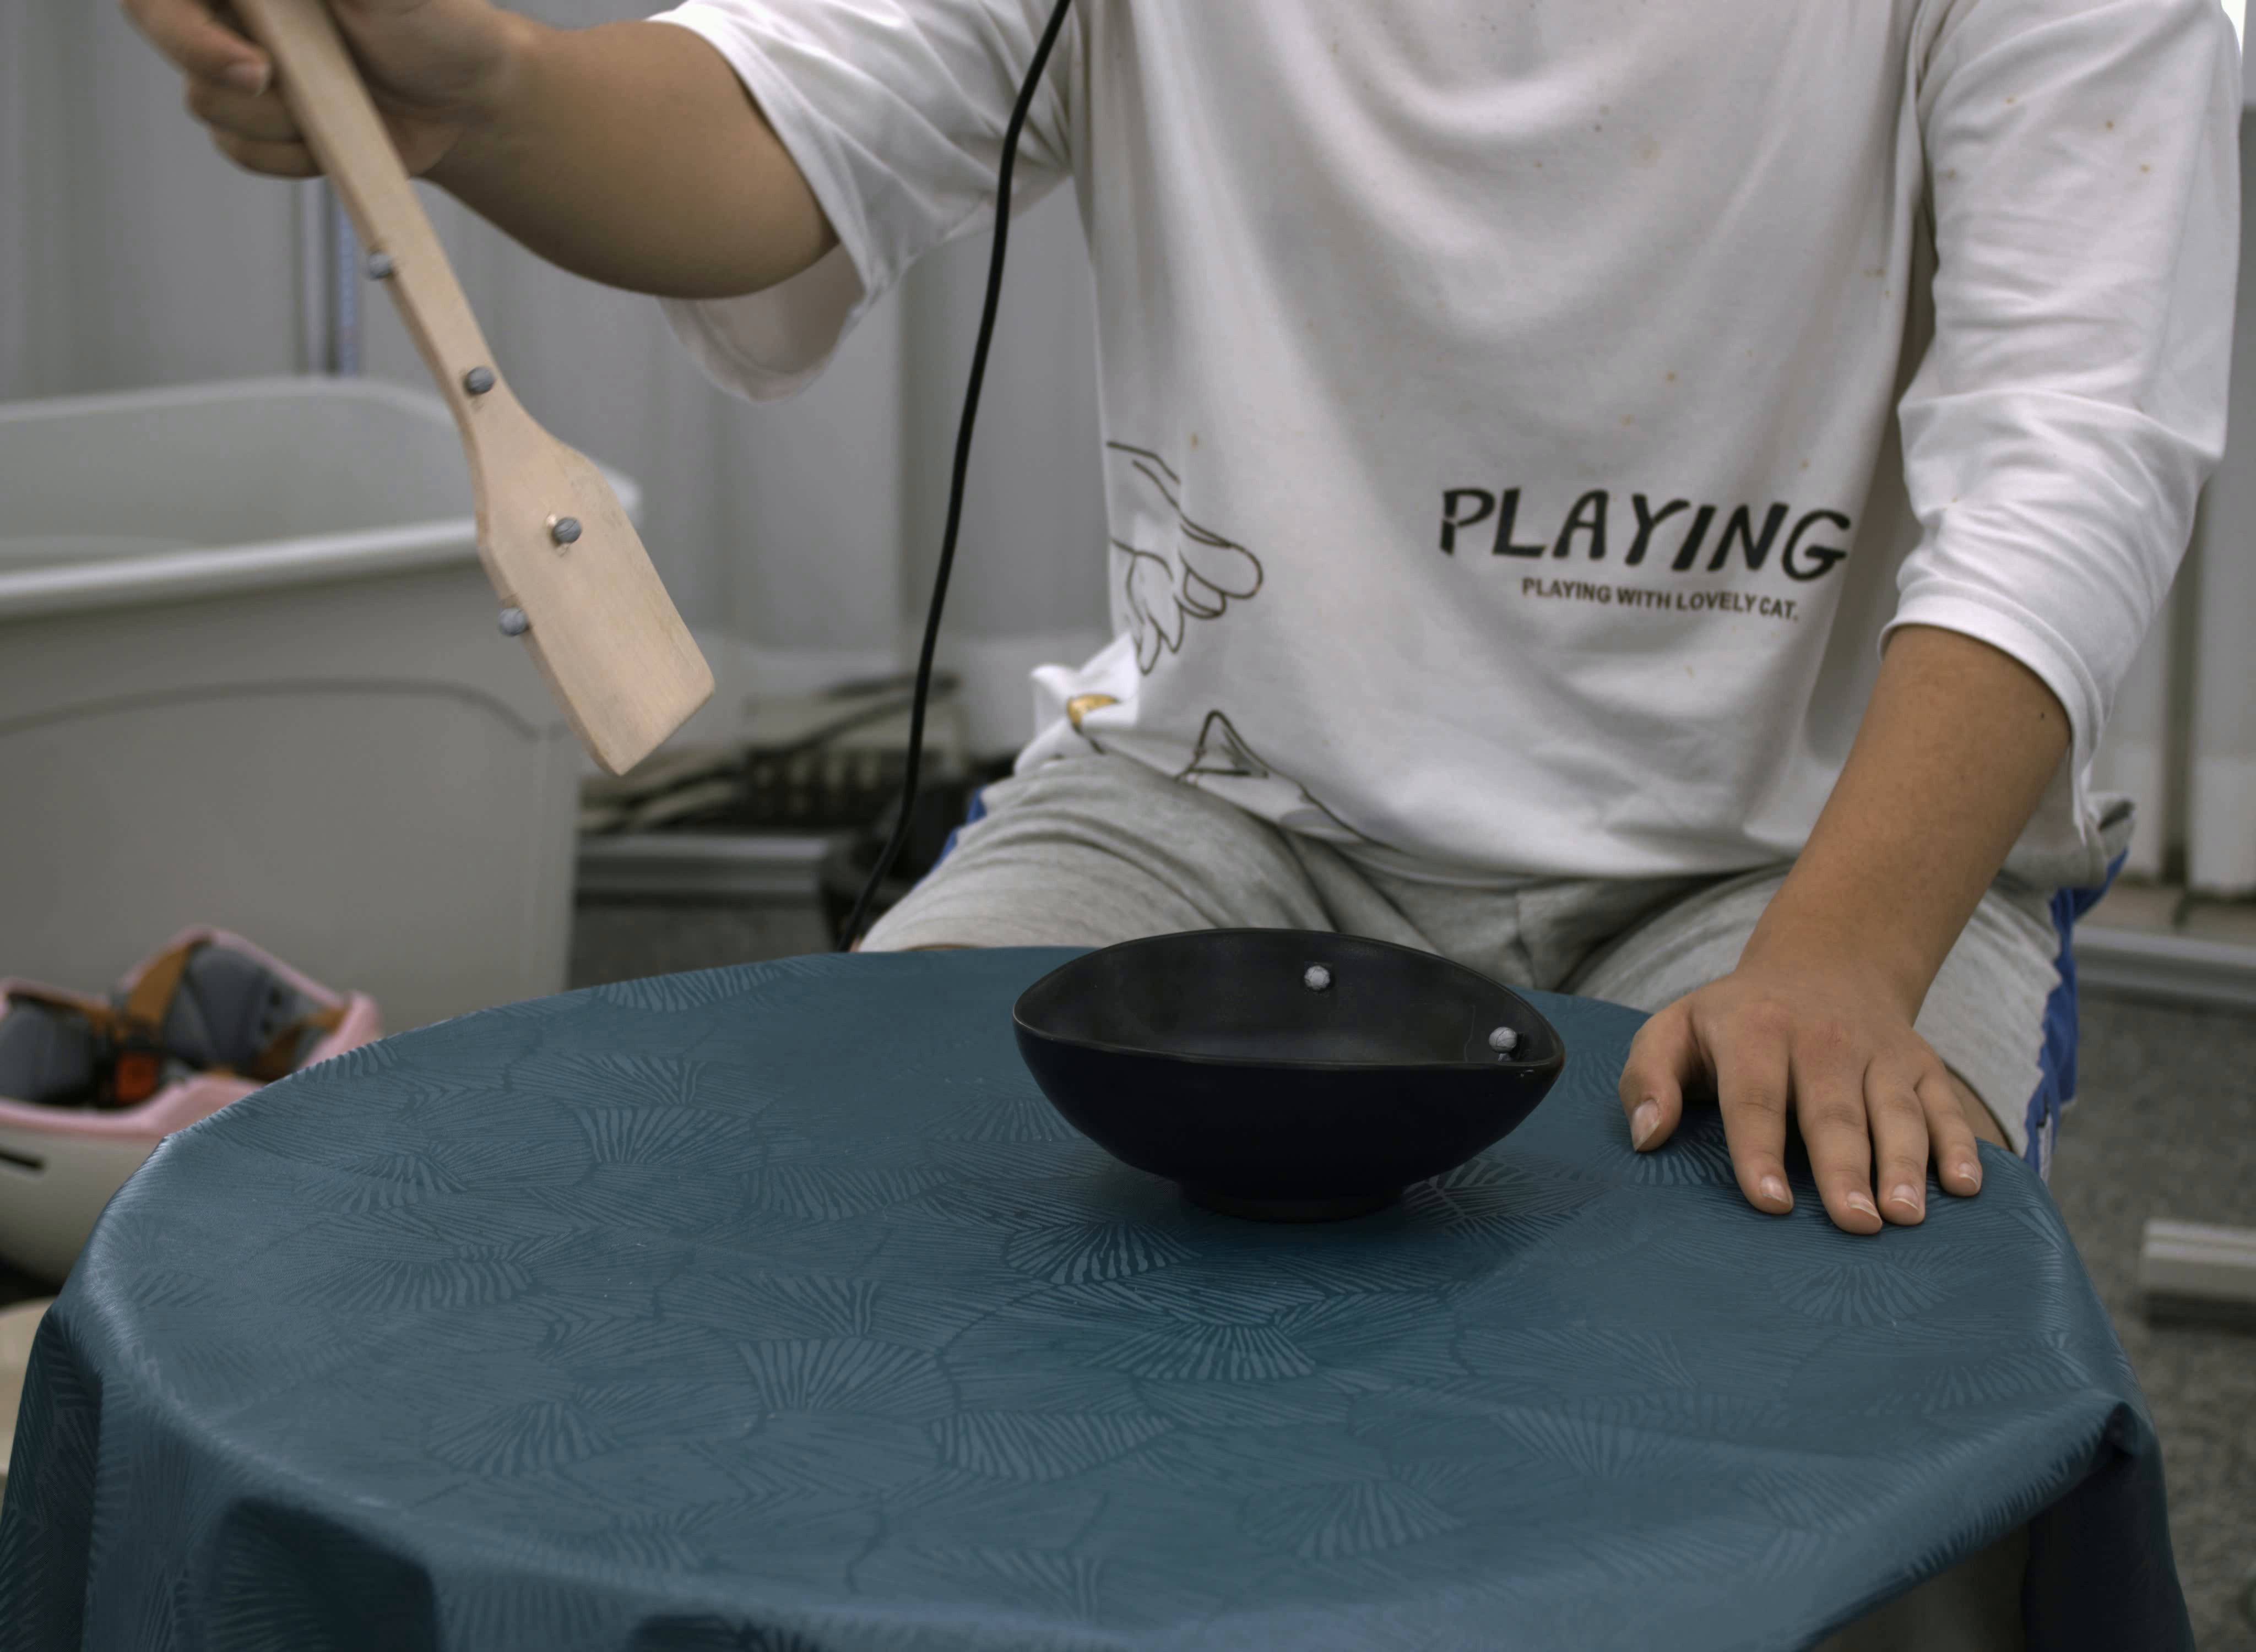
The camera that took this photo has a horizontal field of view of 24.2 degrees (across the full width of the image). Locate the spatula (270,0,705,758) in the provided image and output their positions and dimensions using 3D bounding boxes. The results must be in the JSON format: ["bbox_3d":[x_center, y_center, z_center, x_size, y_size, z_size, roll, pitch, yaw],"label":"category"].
[{"bbox_3d":[-0.206,-0.160,1.601,0.010,0.296,0.072,-13,21,30],"label":"spatula"}]

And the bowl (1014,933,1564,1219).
[{"bbox_3d":[0.049,0.081,1.627,0.170,0.067,0.136,3,15,0],"label":"bowl"}]
